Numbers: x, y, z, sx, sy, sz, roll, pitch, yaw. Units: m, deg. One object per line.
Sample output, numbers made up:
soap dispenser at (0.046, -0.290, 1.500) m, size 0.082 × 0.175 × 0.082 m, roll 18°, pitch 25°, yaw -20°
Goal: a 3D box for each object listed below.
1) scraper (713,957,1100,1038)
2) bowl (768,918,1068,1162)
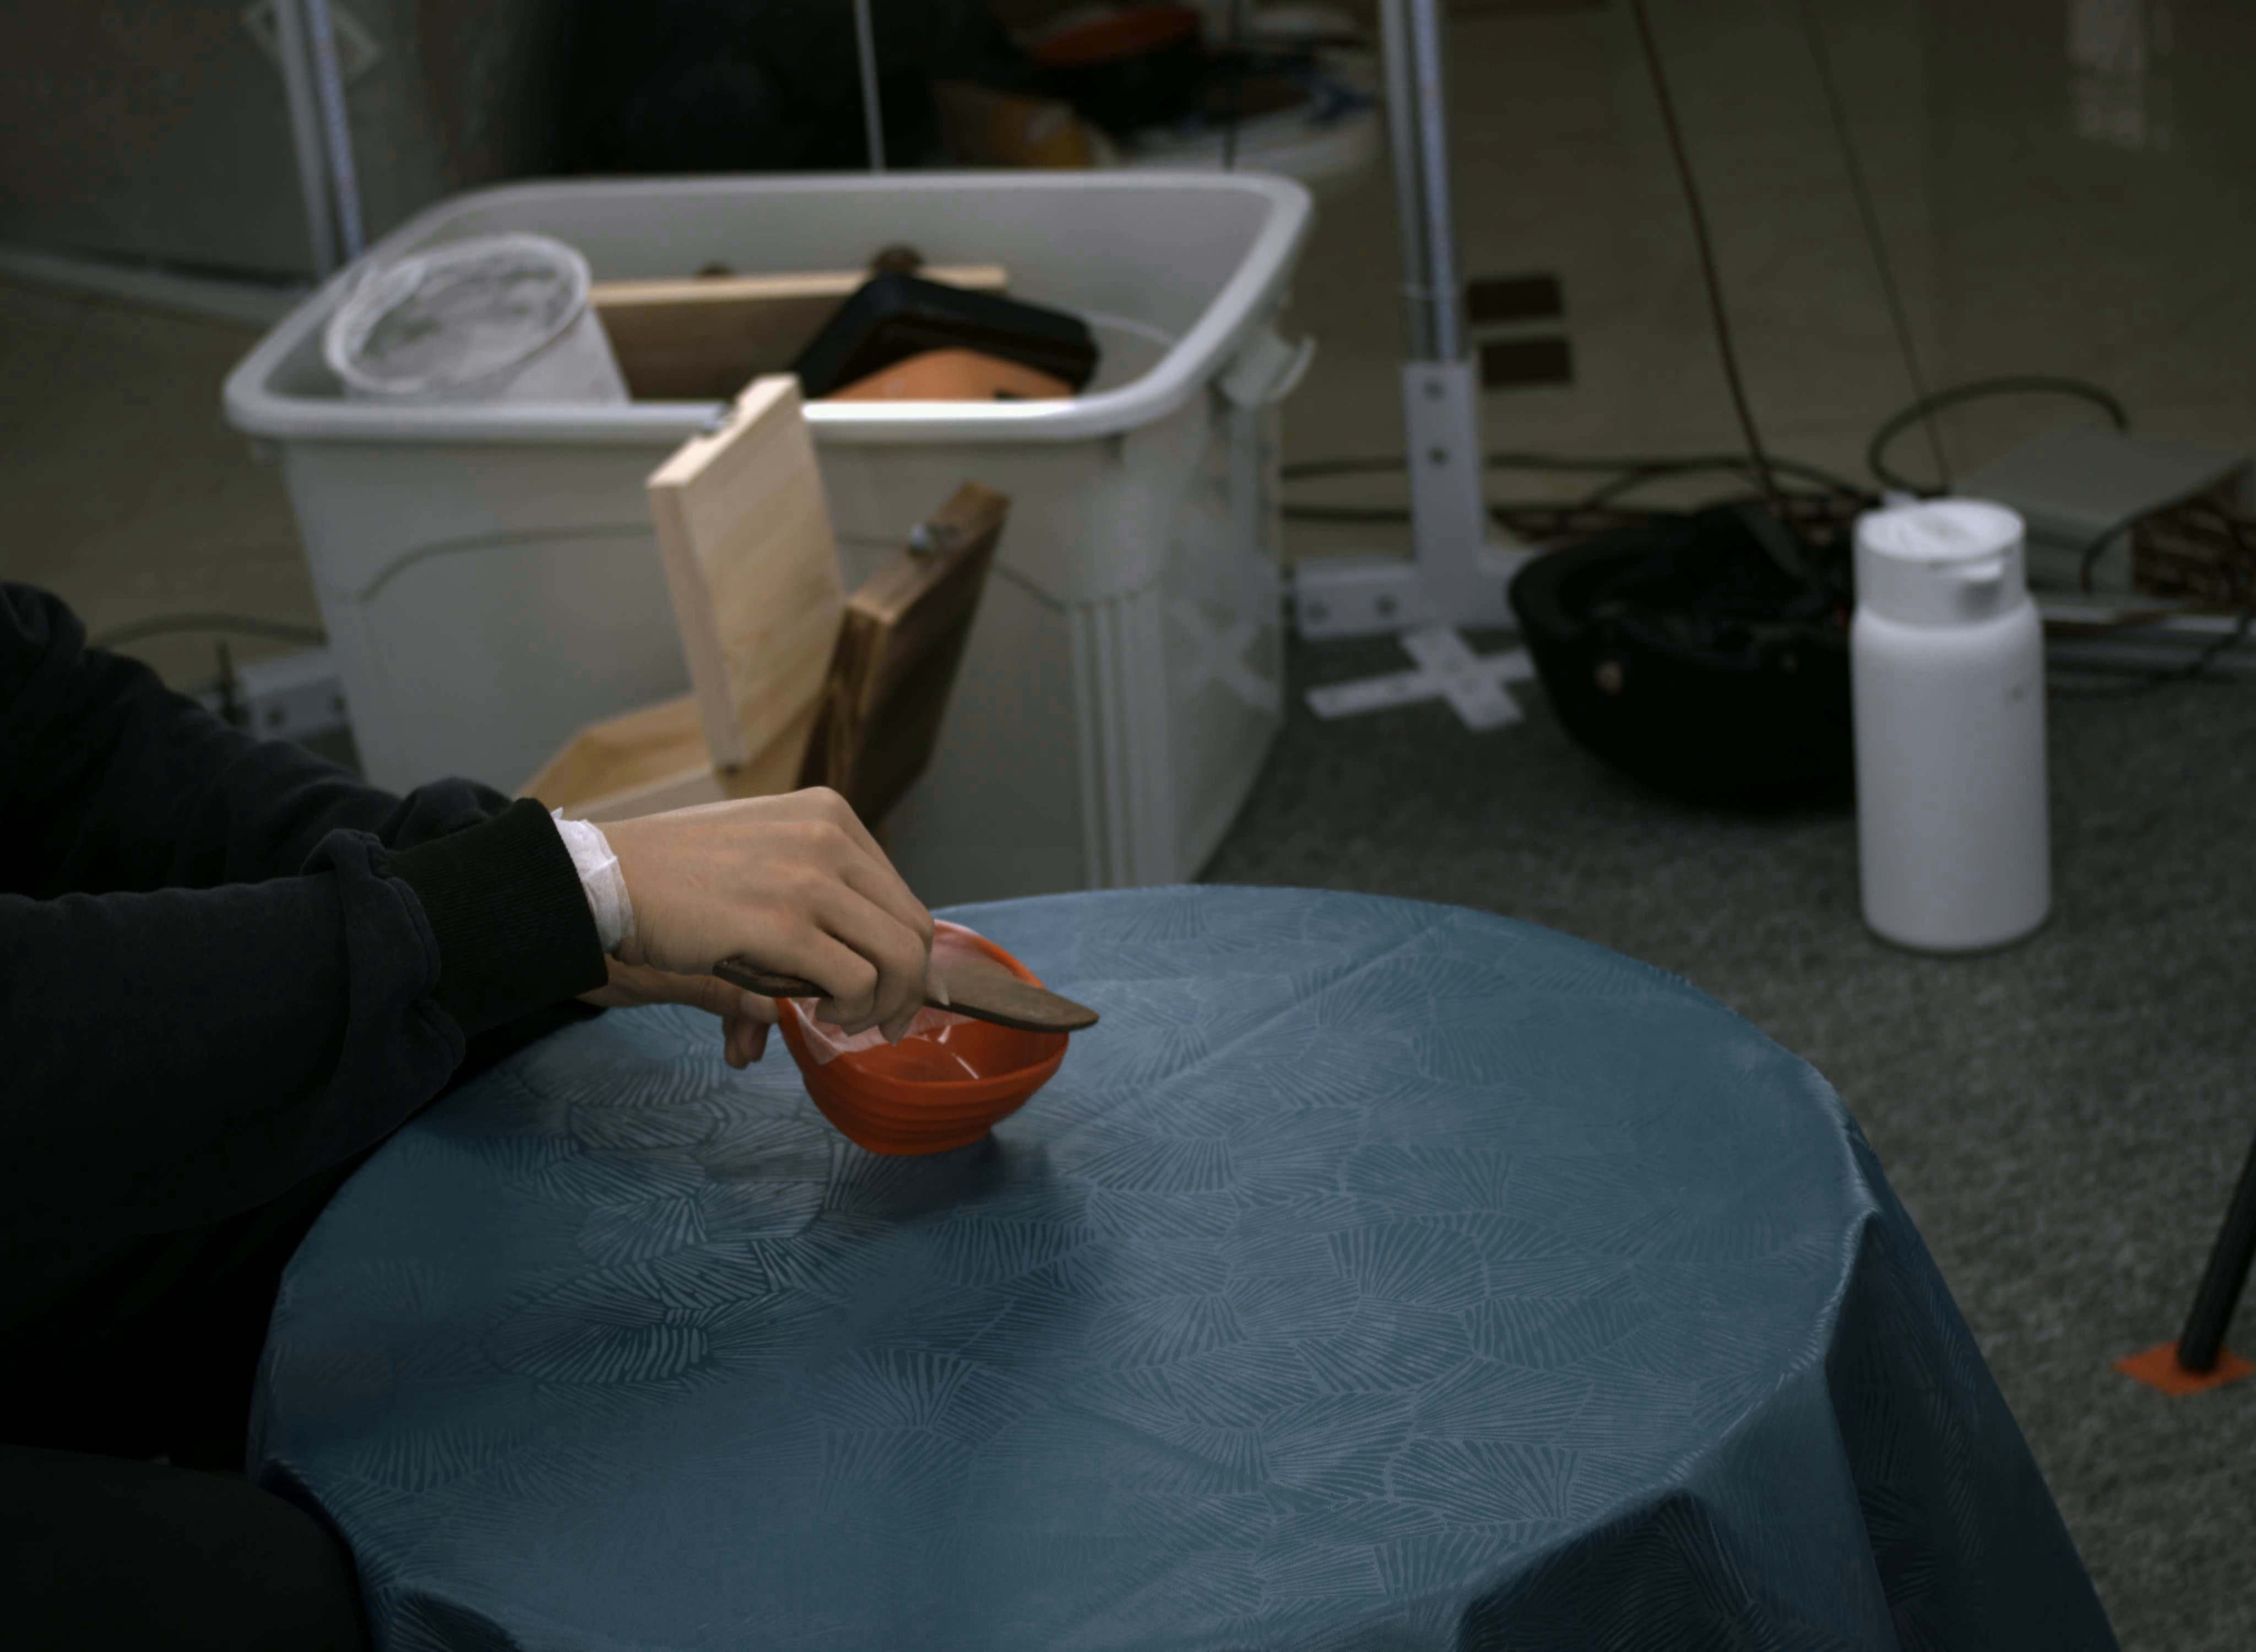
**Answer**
scraper at (-0.089, 0.061, 2.116) m, size 0.075 × 0.011 × 0.212 m, roll 24°, pitch 8°, yaw 29°
bowl at (-0.086, 0.089, 2.196) m, size 0.119 × 0.052 × 0.117 m, roll 12°, pitch 32°, yaw -8°
